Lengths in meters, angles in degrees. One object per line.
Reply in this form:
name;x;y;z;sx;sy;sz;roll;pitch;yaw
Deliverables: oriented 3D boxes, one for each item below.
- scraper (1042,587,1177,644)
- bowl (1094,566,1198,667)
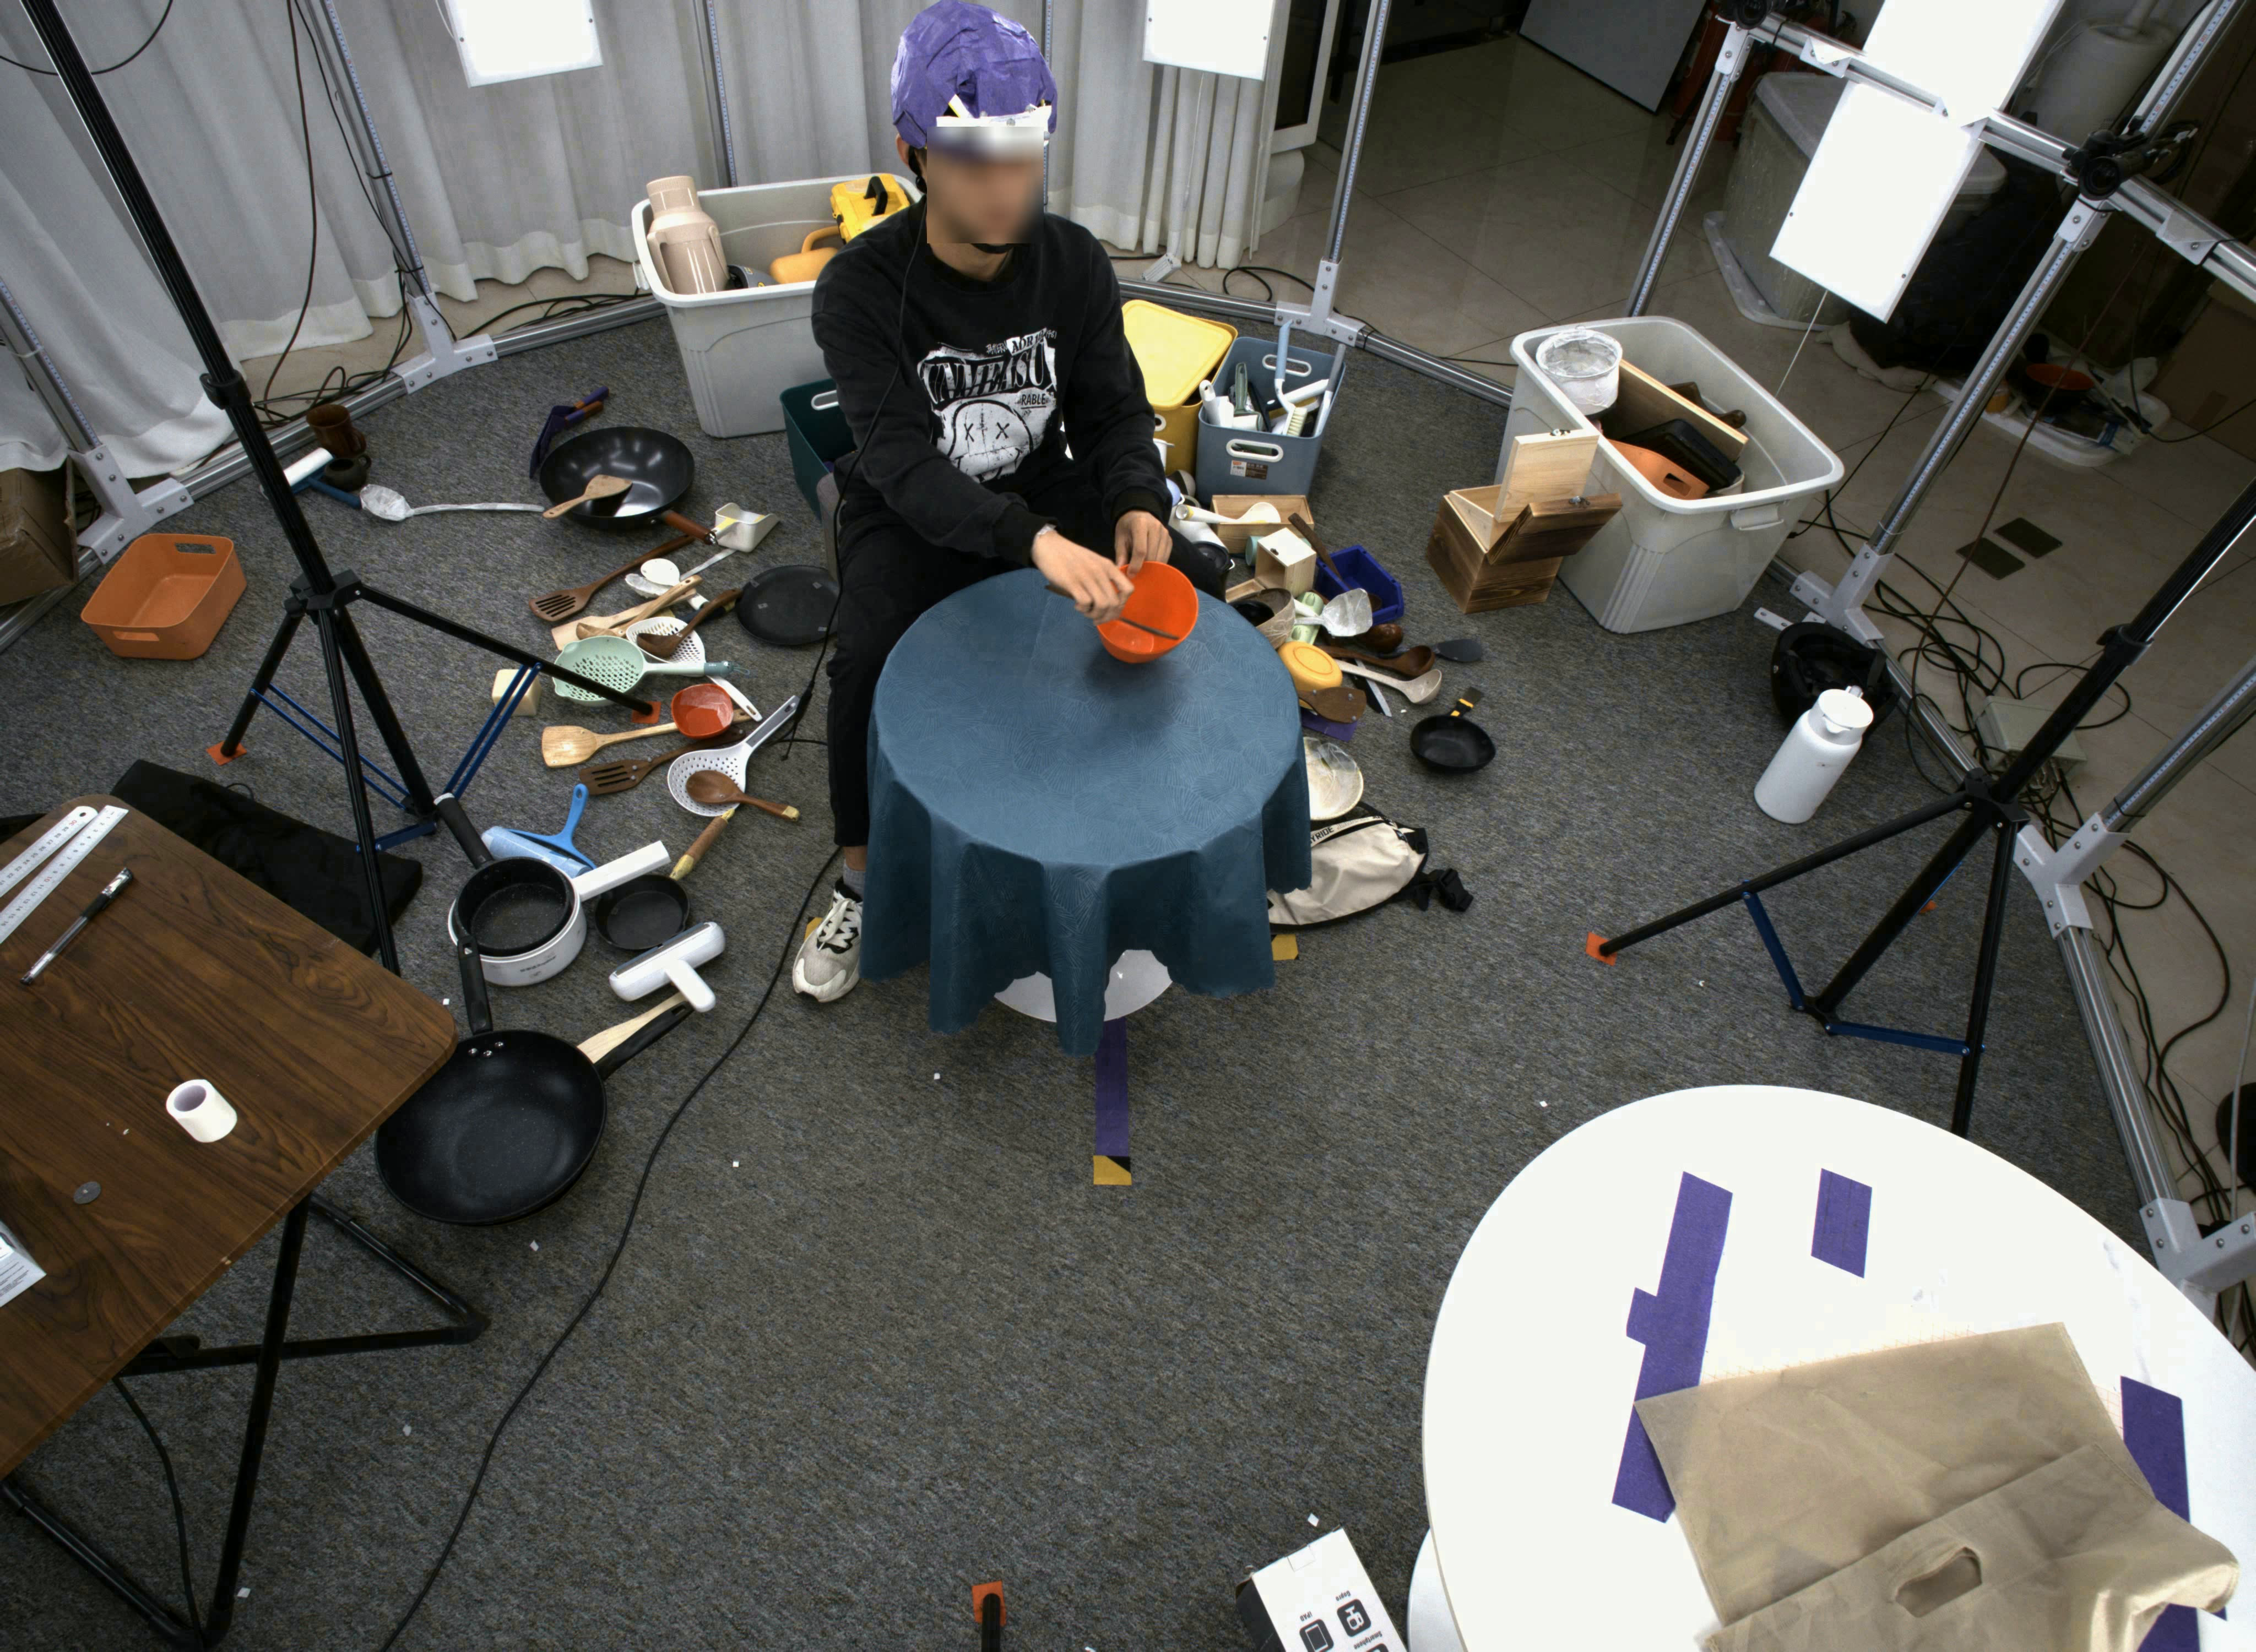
scraper;-0.027;-0.284;1.740;0.209;0.011;0.077;16;10;-36
bowl;0.022;-0.290;1.865;0.148;0.102;0.151;3;64;-6
